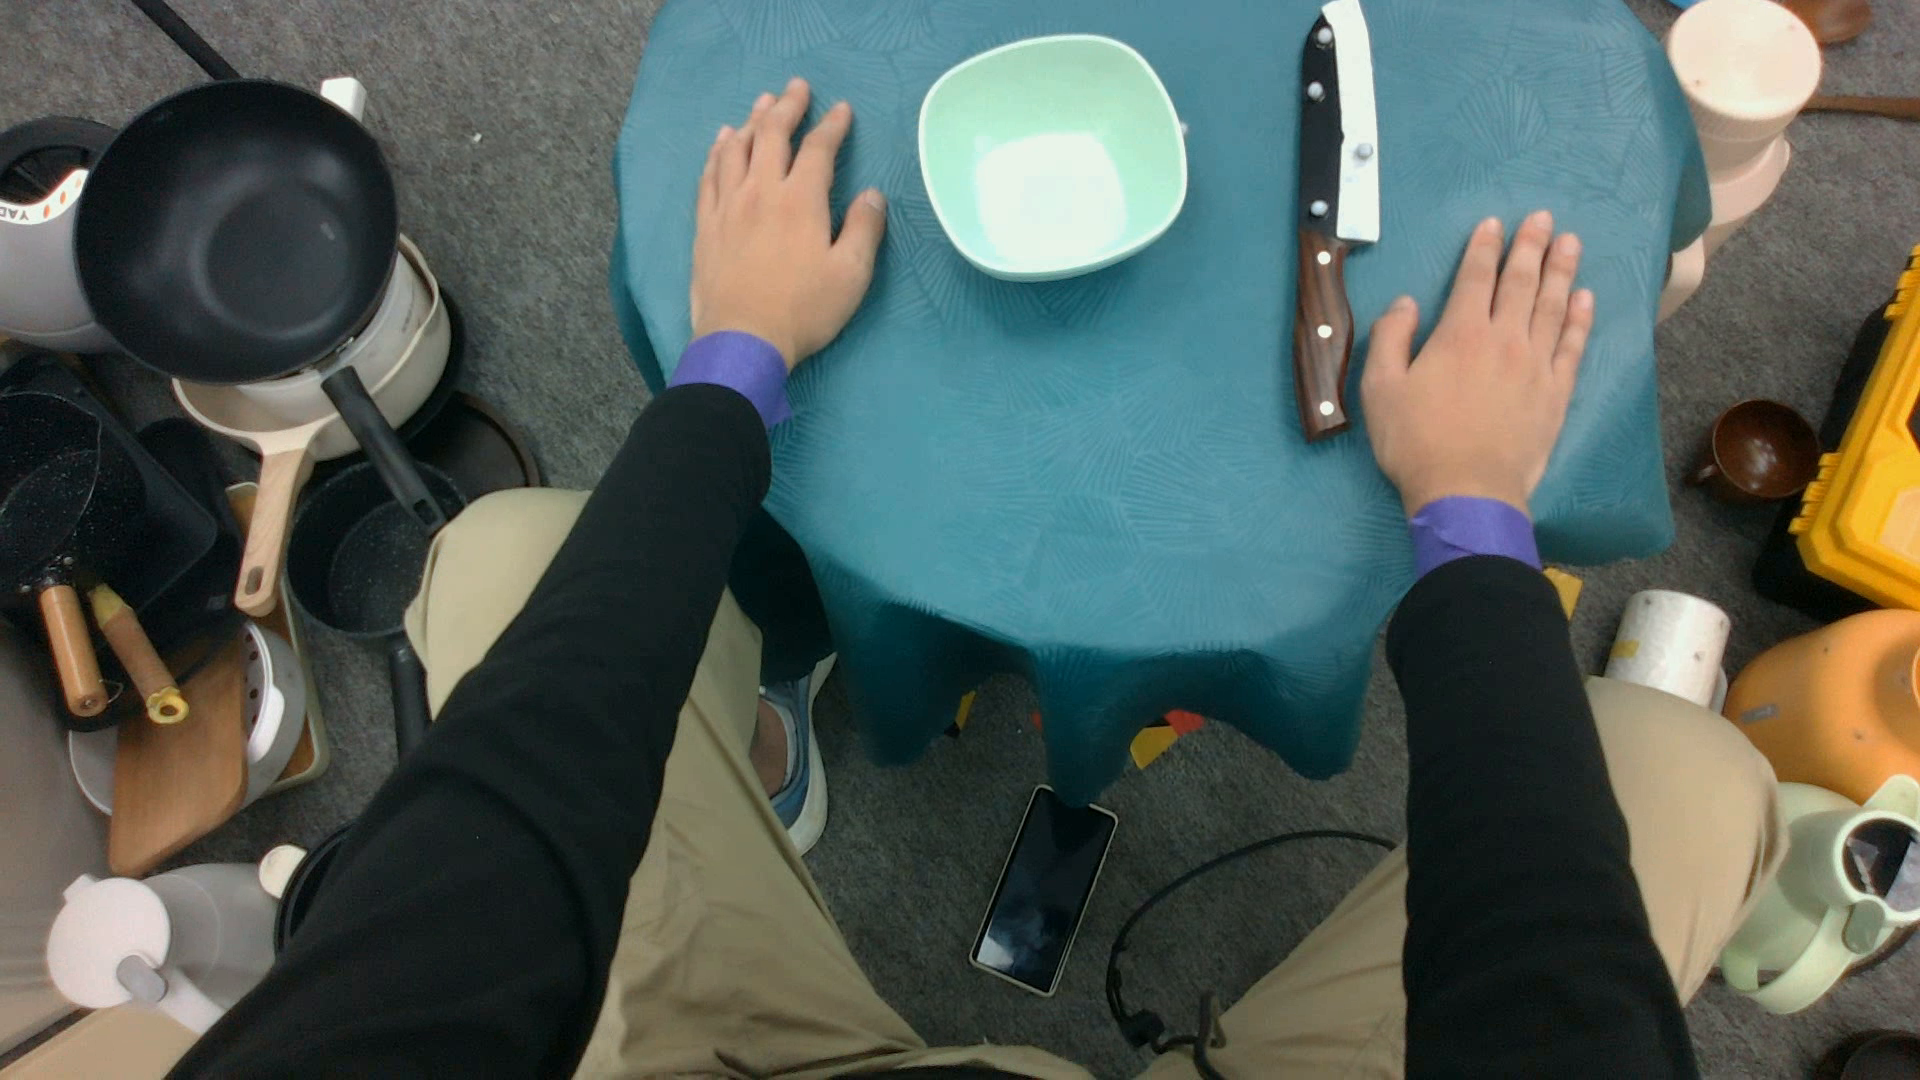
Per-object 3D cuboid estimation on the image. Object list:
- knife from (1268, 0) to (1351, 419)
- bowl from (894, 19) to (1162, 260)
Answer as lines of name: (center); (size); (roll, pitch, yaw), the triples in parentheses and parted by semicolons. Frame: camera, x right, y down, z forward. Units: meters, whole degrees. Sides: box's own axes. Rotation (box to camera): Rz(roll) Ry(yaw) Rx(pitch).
knife: (0.194, -0.200, 0.770); (0.050, 0.020, 0.290); (7, 72, -1)
bowl: (0.037, -0.209, 0.756); (0.151, 0.058, 0.152); (-1, 72, 2)
